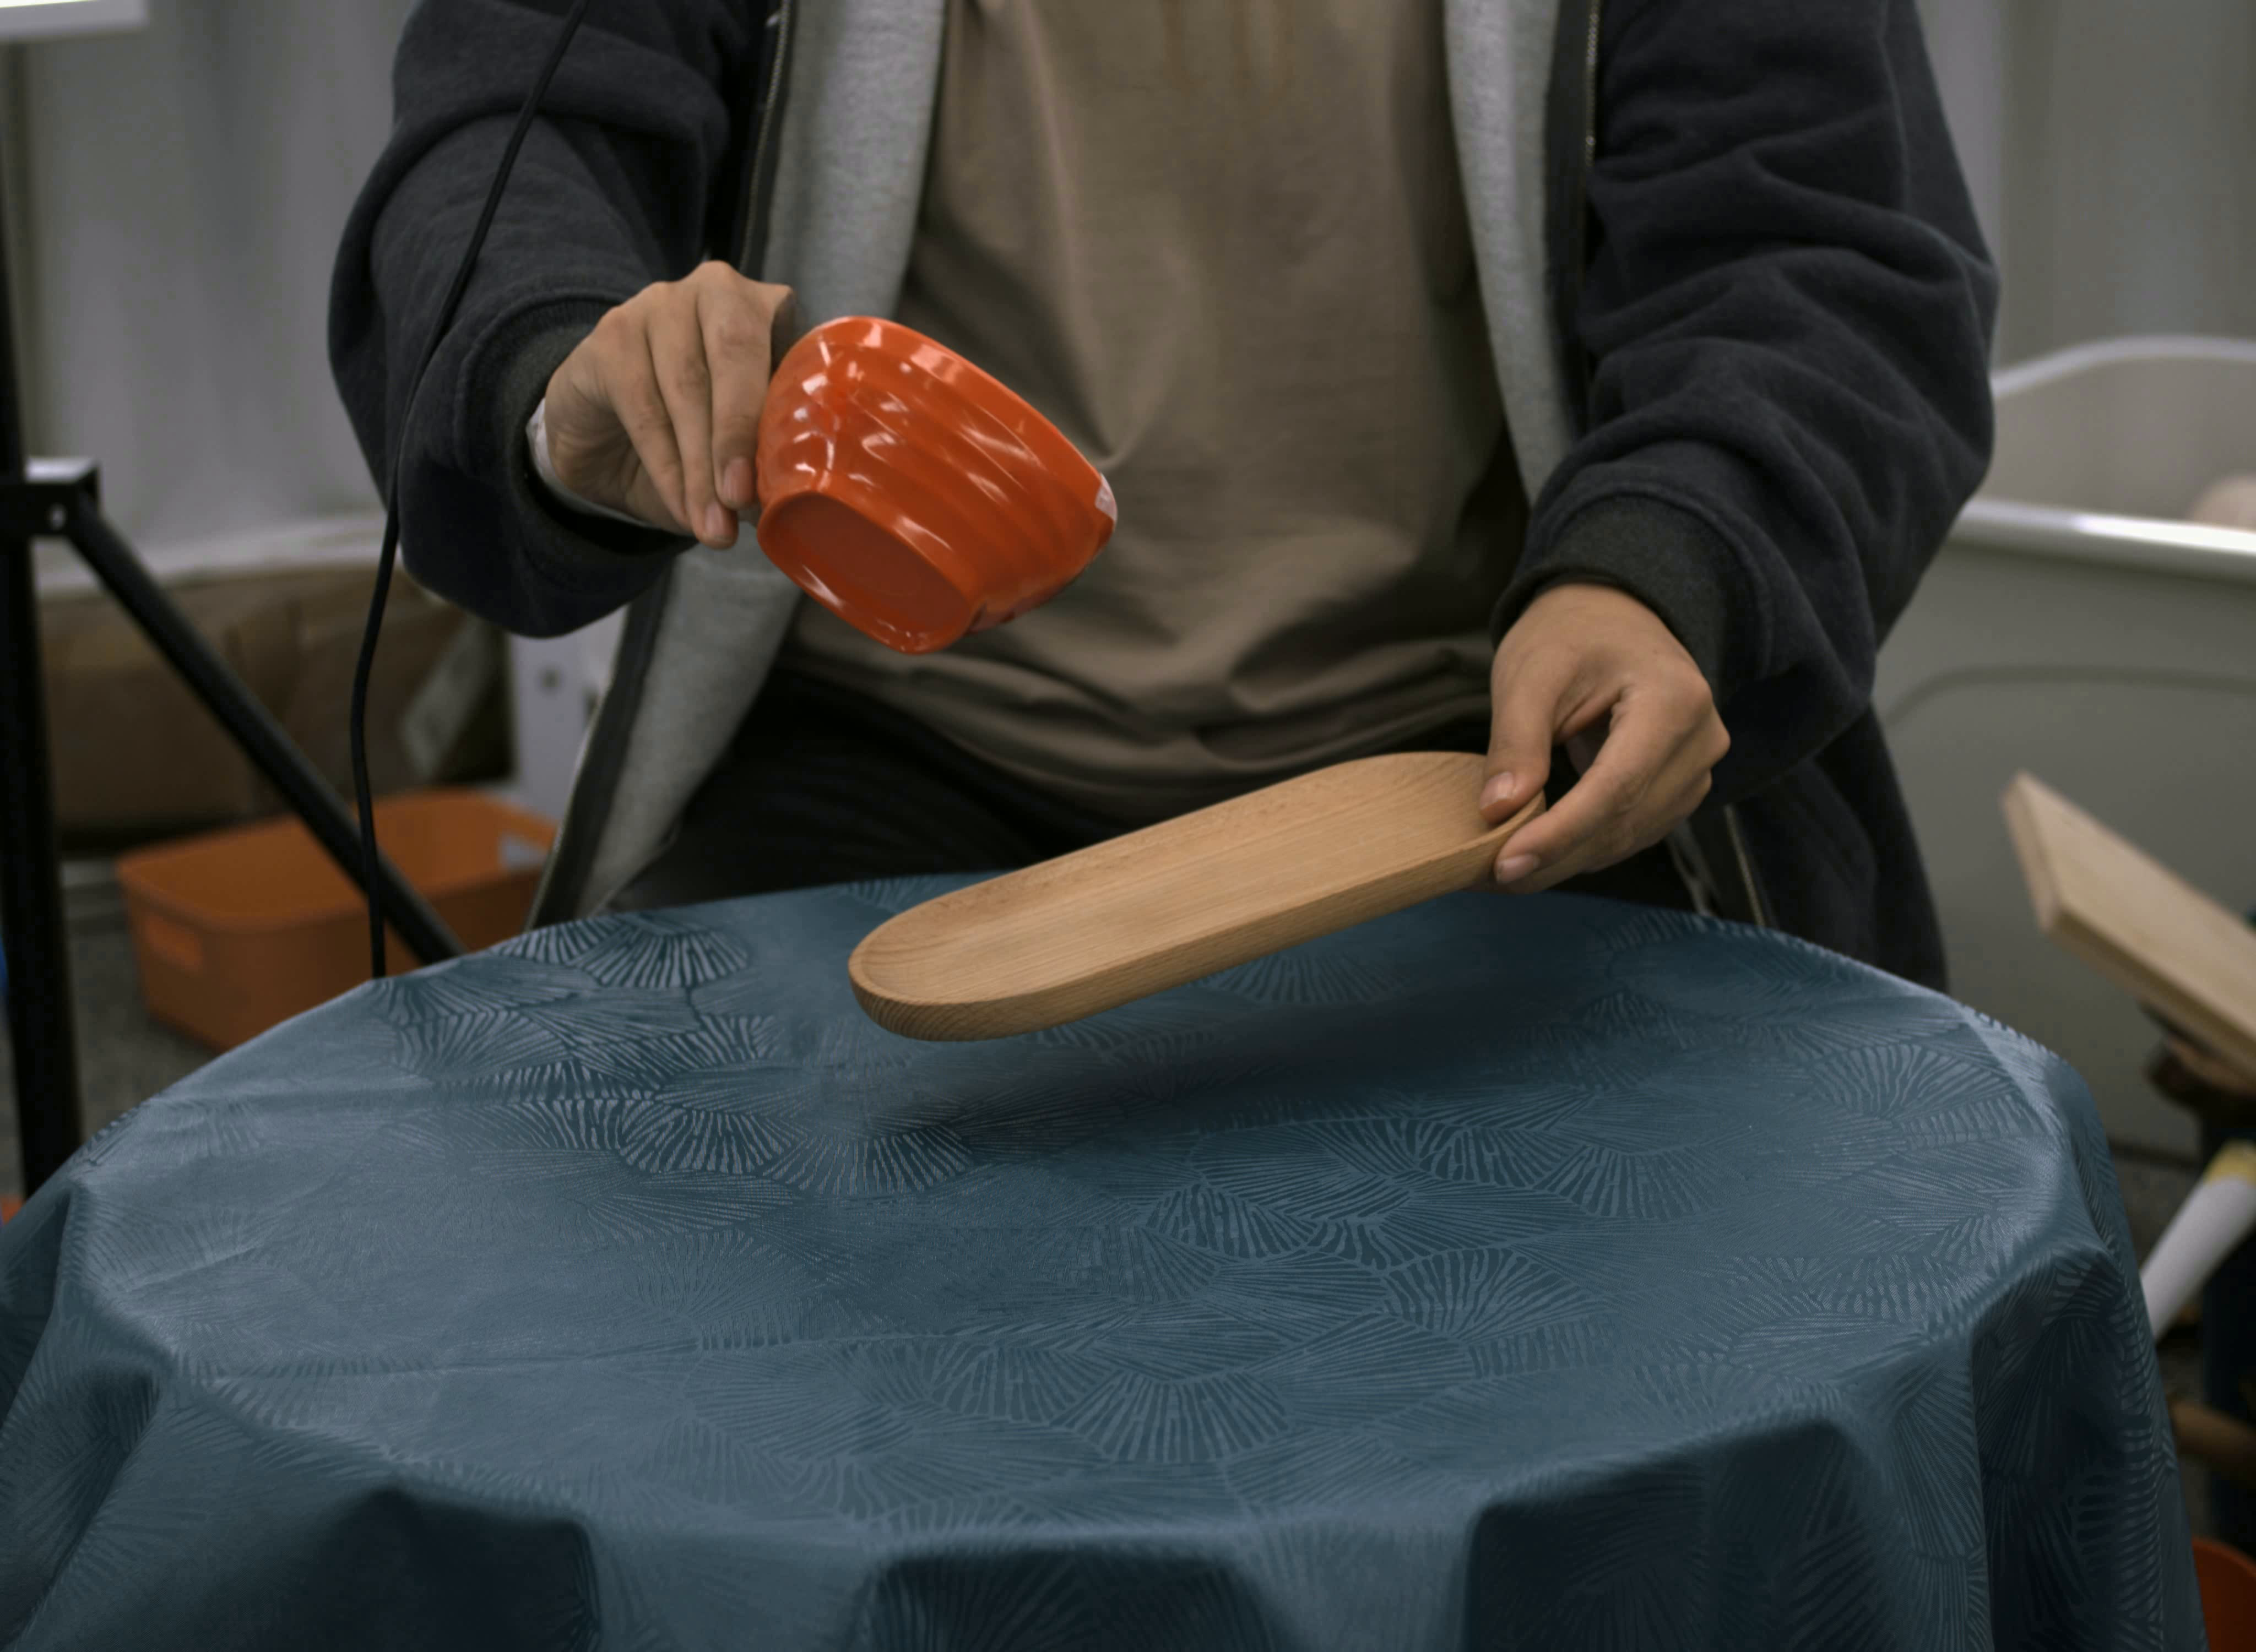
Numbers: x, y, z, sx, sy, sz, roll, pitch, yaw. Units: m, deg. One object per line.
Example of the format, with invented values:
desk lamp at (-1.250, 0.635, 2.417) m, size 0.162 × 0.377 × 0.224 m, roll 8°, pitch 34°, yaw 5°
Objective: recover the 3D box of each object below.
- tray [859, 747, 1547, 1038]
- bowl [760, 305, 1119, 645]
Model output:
tray at (0.025, 0.020, 1.648) m, size 0.227 × 0.020 × 0.104 m, roll -18°, pitch 22°, yaw -21°
bowl at (-0.065, -0.095, 1.572) m, size 0.121 × 0.116 × 0.051 m, roll 11°, pitch 59°, yaw 39°
